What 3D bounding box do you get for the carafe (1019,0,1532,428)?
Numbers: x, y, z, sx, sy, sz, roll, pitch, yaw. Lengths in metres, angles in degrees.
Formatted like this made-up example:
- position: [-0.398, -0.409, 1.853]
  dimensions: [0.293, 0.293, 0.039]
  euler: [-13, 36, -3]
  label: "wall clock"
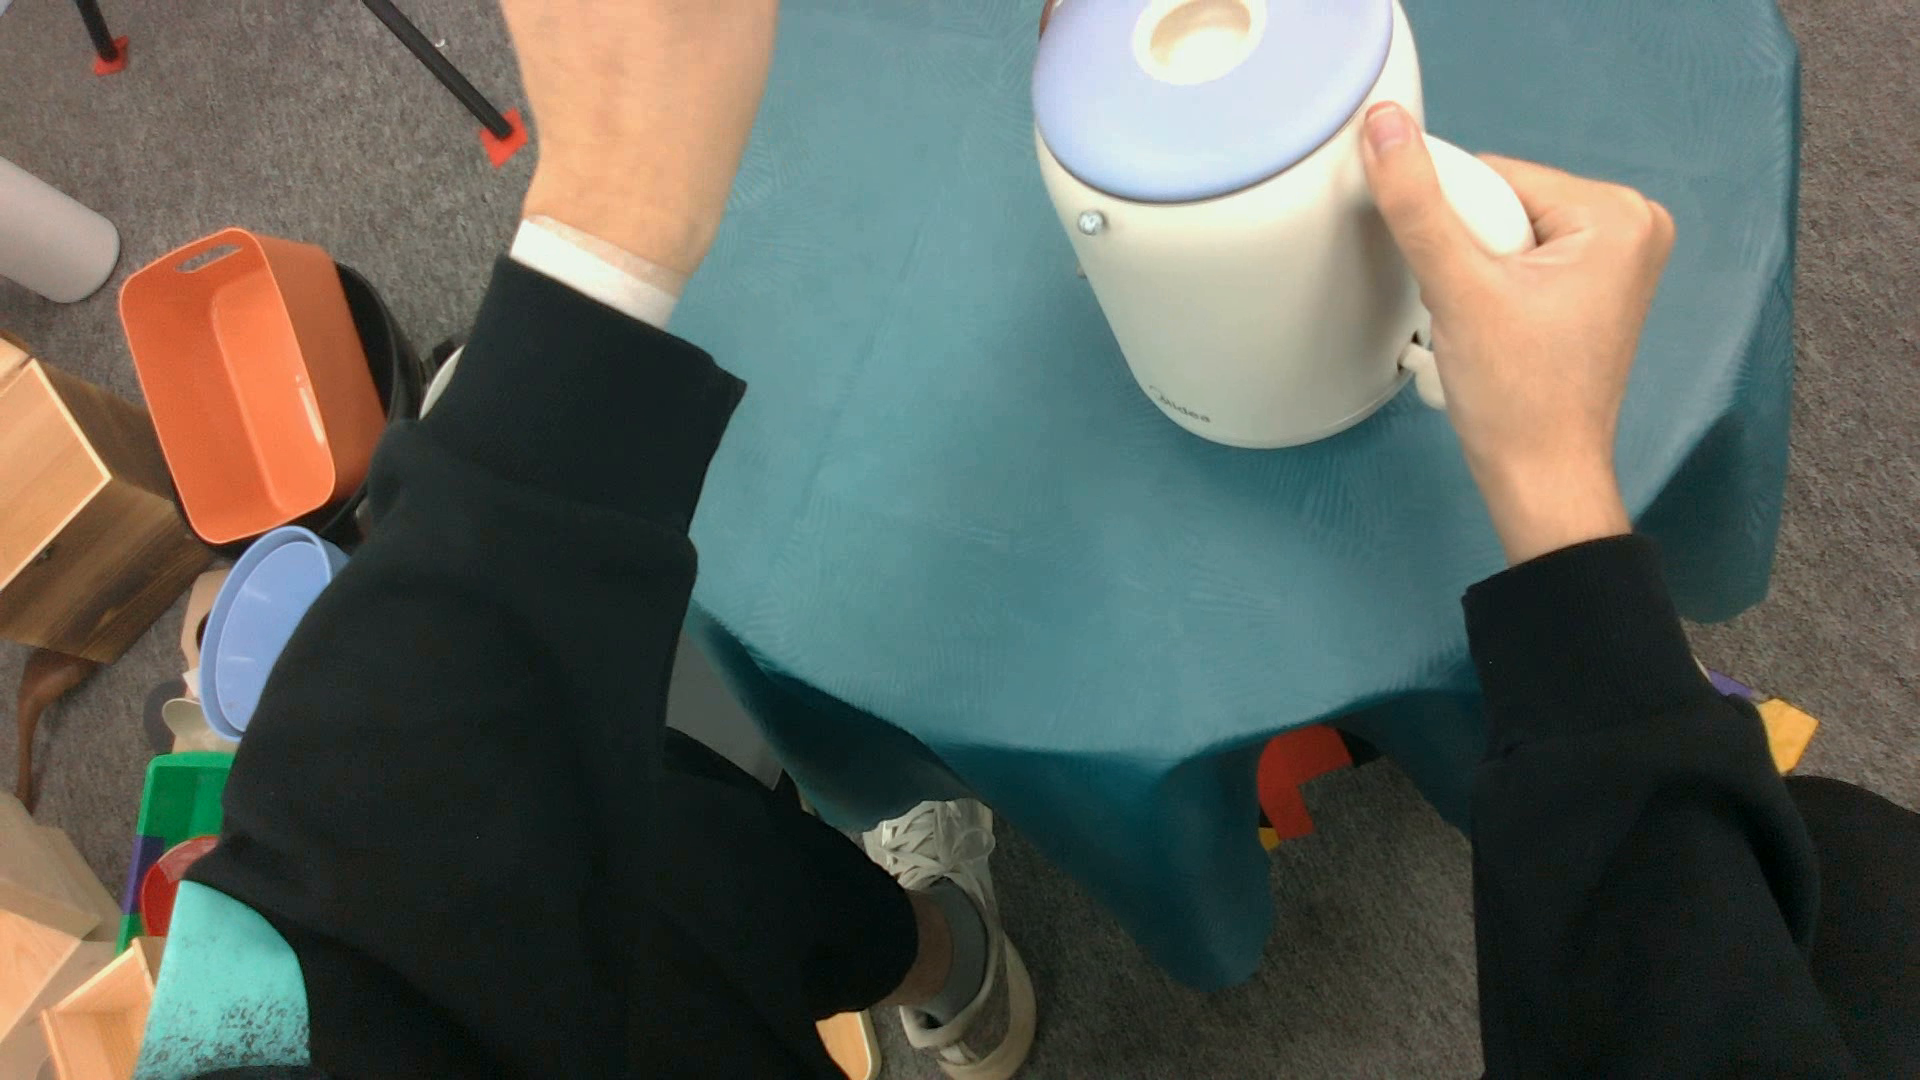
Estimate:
- position: [0.122, -0.124, 0.515]
  dimensions: [0.191, 0.182, 0.132]
  euler: [31, 81, 27]
  label: "carafe"
